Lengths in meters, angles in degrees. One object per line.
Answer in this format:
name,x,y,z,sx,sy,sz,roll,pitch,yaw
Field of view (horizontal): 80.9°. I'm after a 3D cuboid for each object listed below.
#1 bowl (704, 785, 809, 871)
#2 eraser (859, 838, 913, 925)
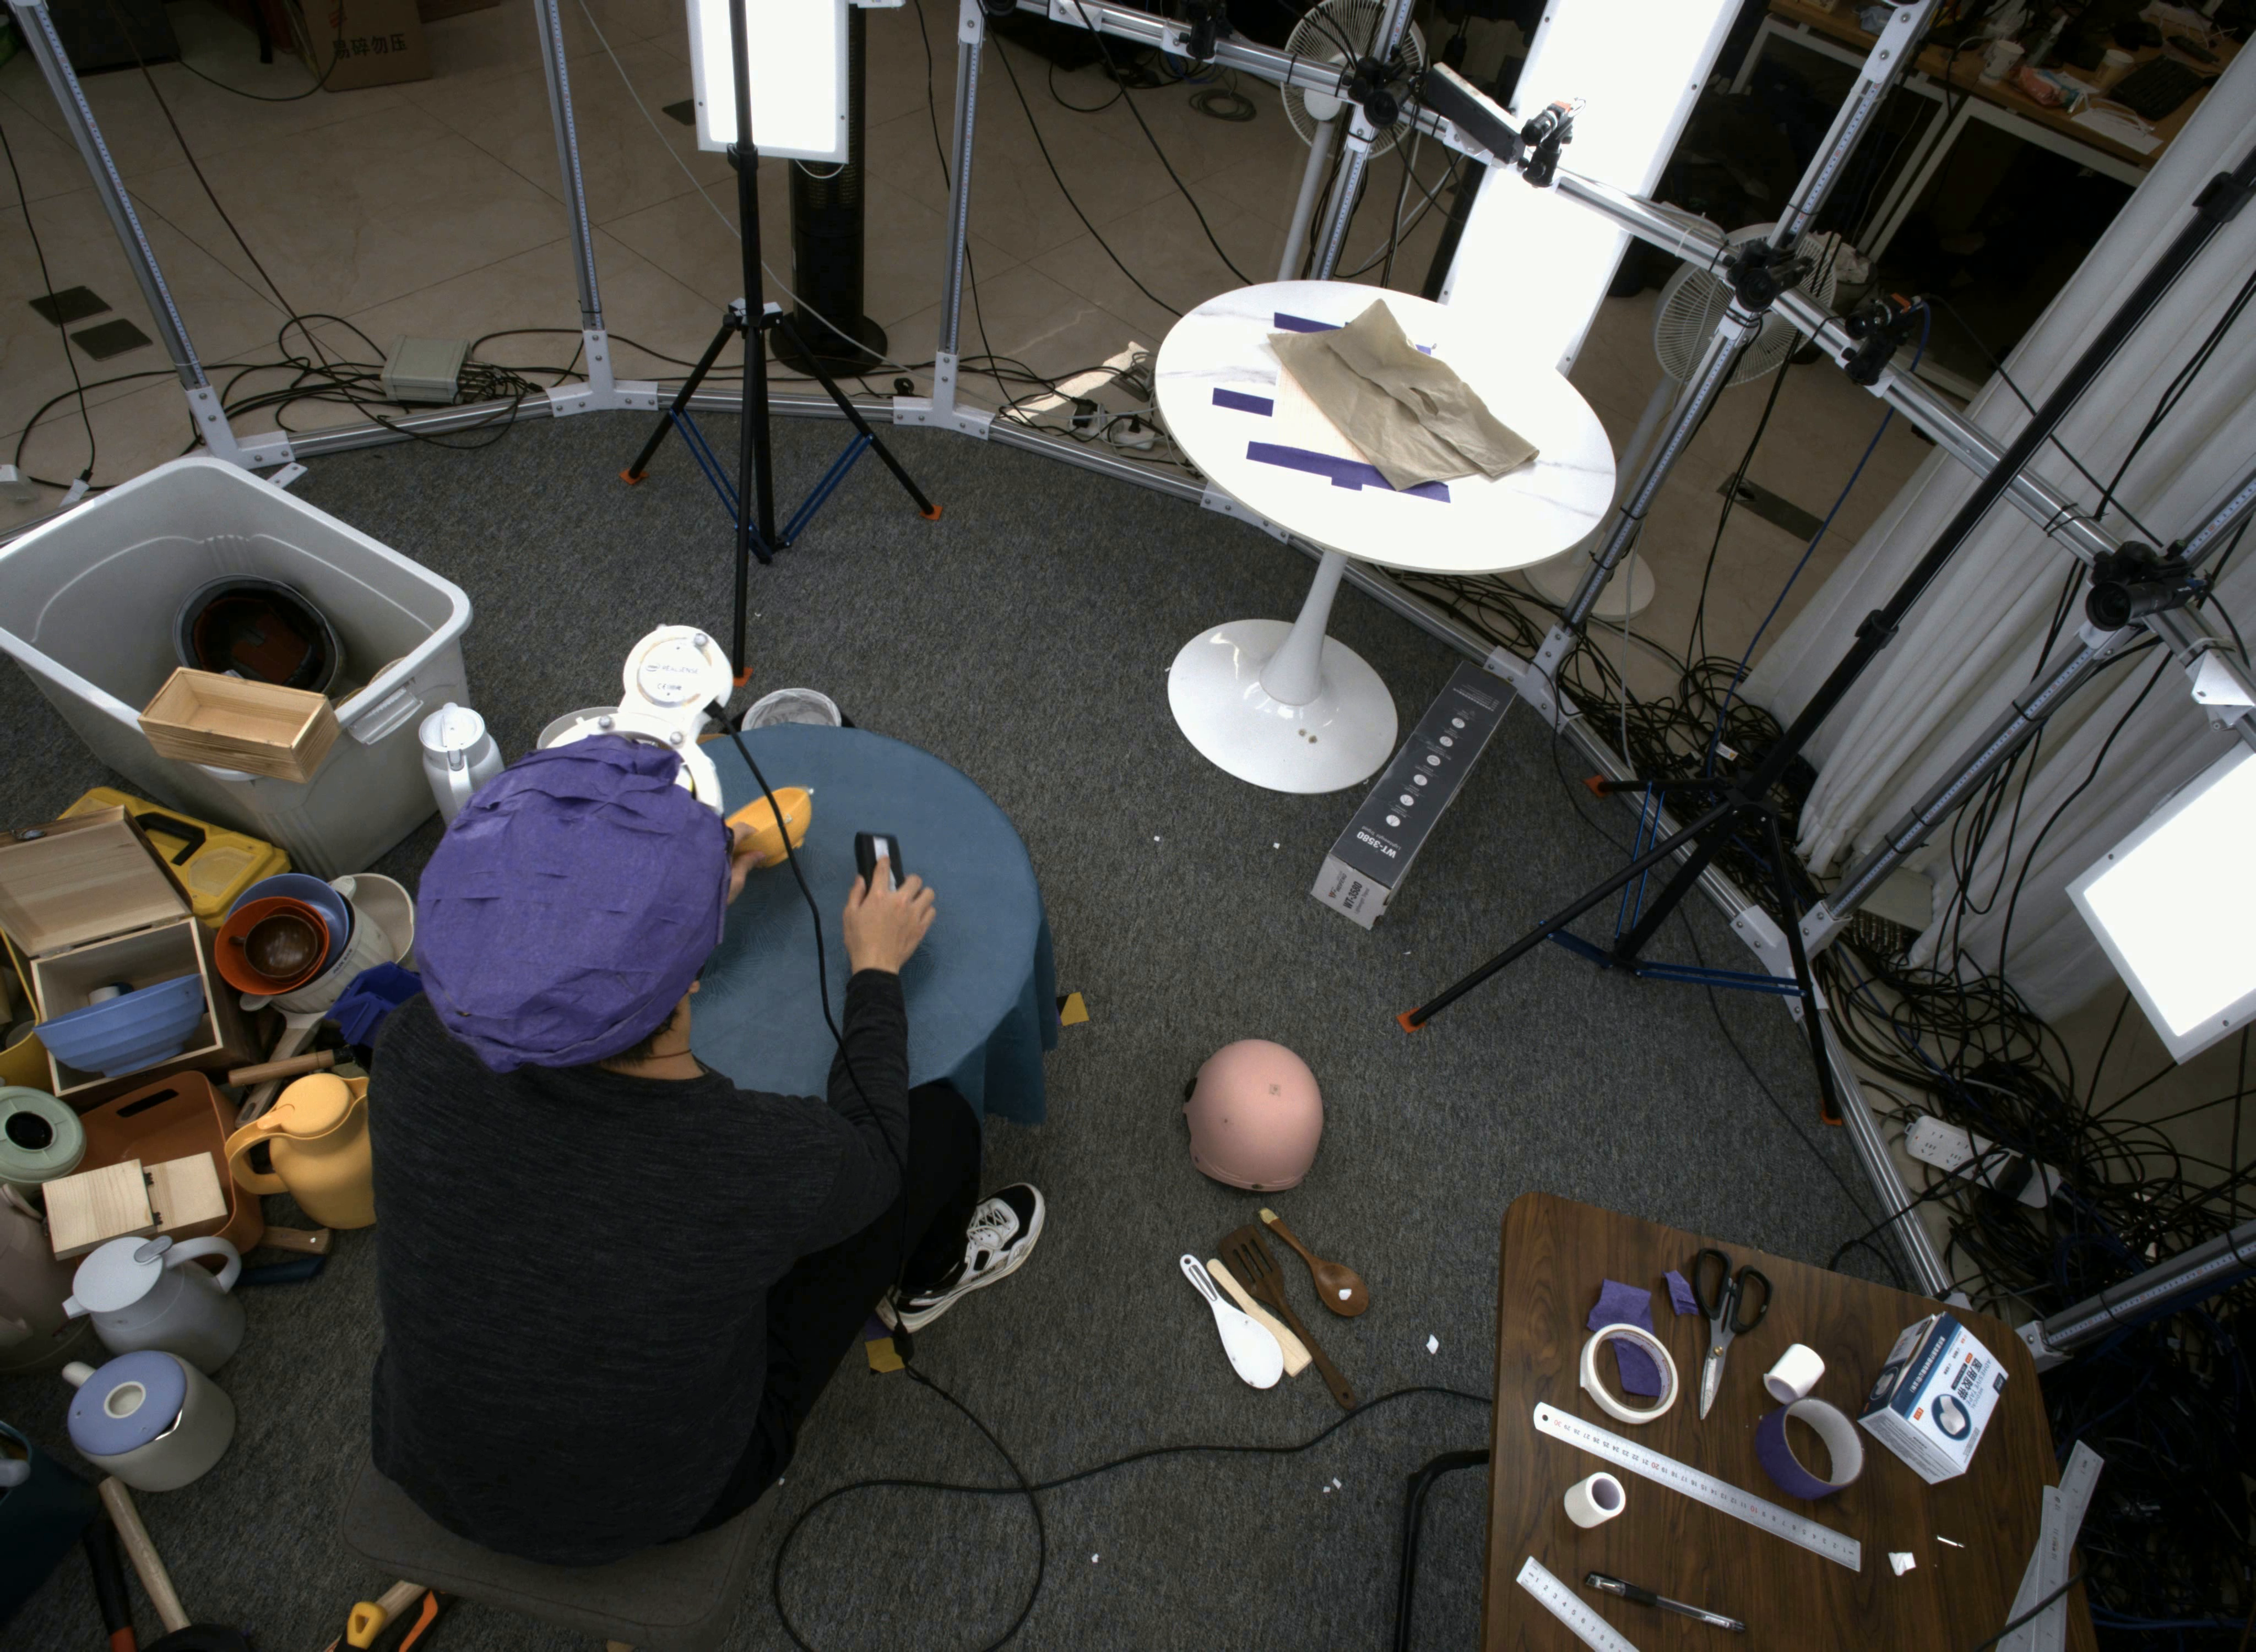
bowl,-0.455,0.011,1.627,0.143,0.062,0.142,-22,24,12
eraser,-0.305,0.067,1.631,0.054,0.031,0.122,3,46,-25
